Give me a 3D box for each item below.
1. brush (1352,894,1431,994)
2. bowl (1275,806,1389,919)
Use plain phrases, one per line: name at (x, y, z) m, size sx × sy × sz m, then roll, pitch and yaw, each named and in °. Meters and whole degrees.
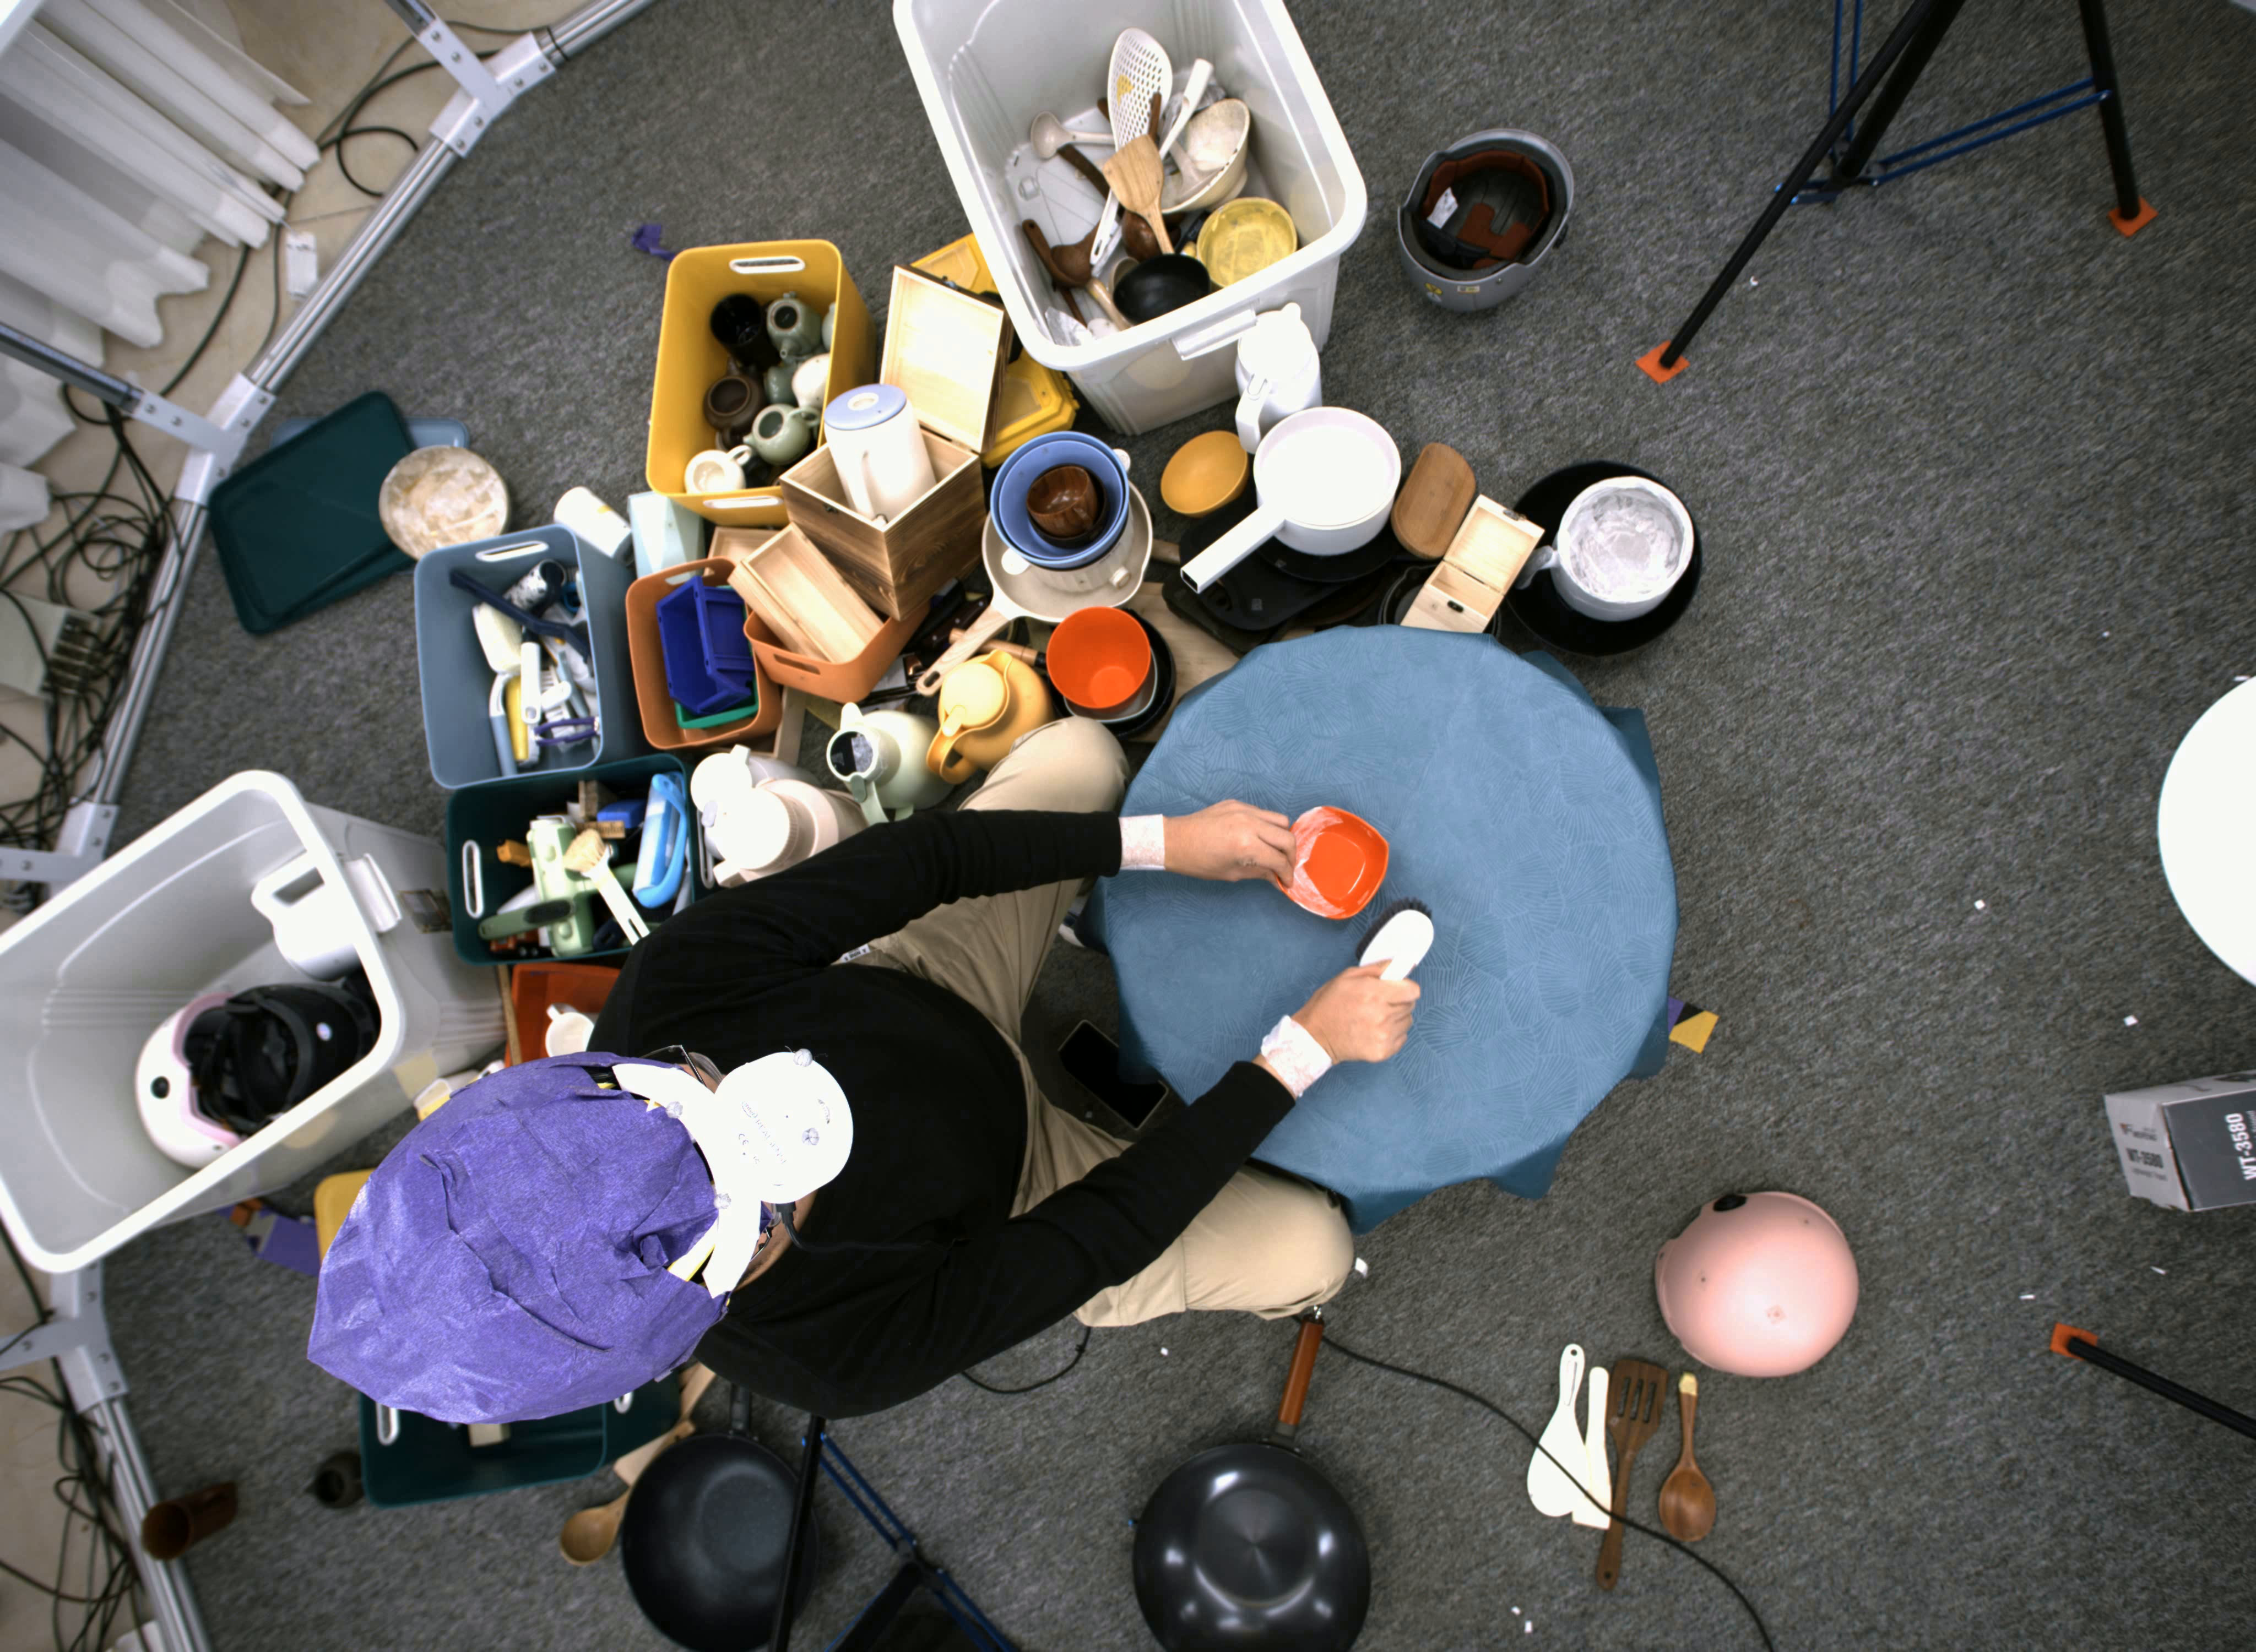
brush at (0.262, 0.123, 1.370) m, size 0.050 × 0.071 × 0.101 m, roll 29°, pitch 119°, yaw -9°
bowl at (0.213, 0.039, 1.446) m, size 0.119 × 0.051 × 0.118 m, roll -1°, pitch 85°, yaw 9°
